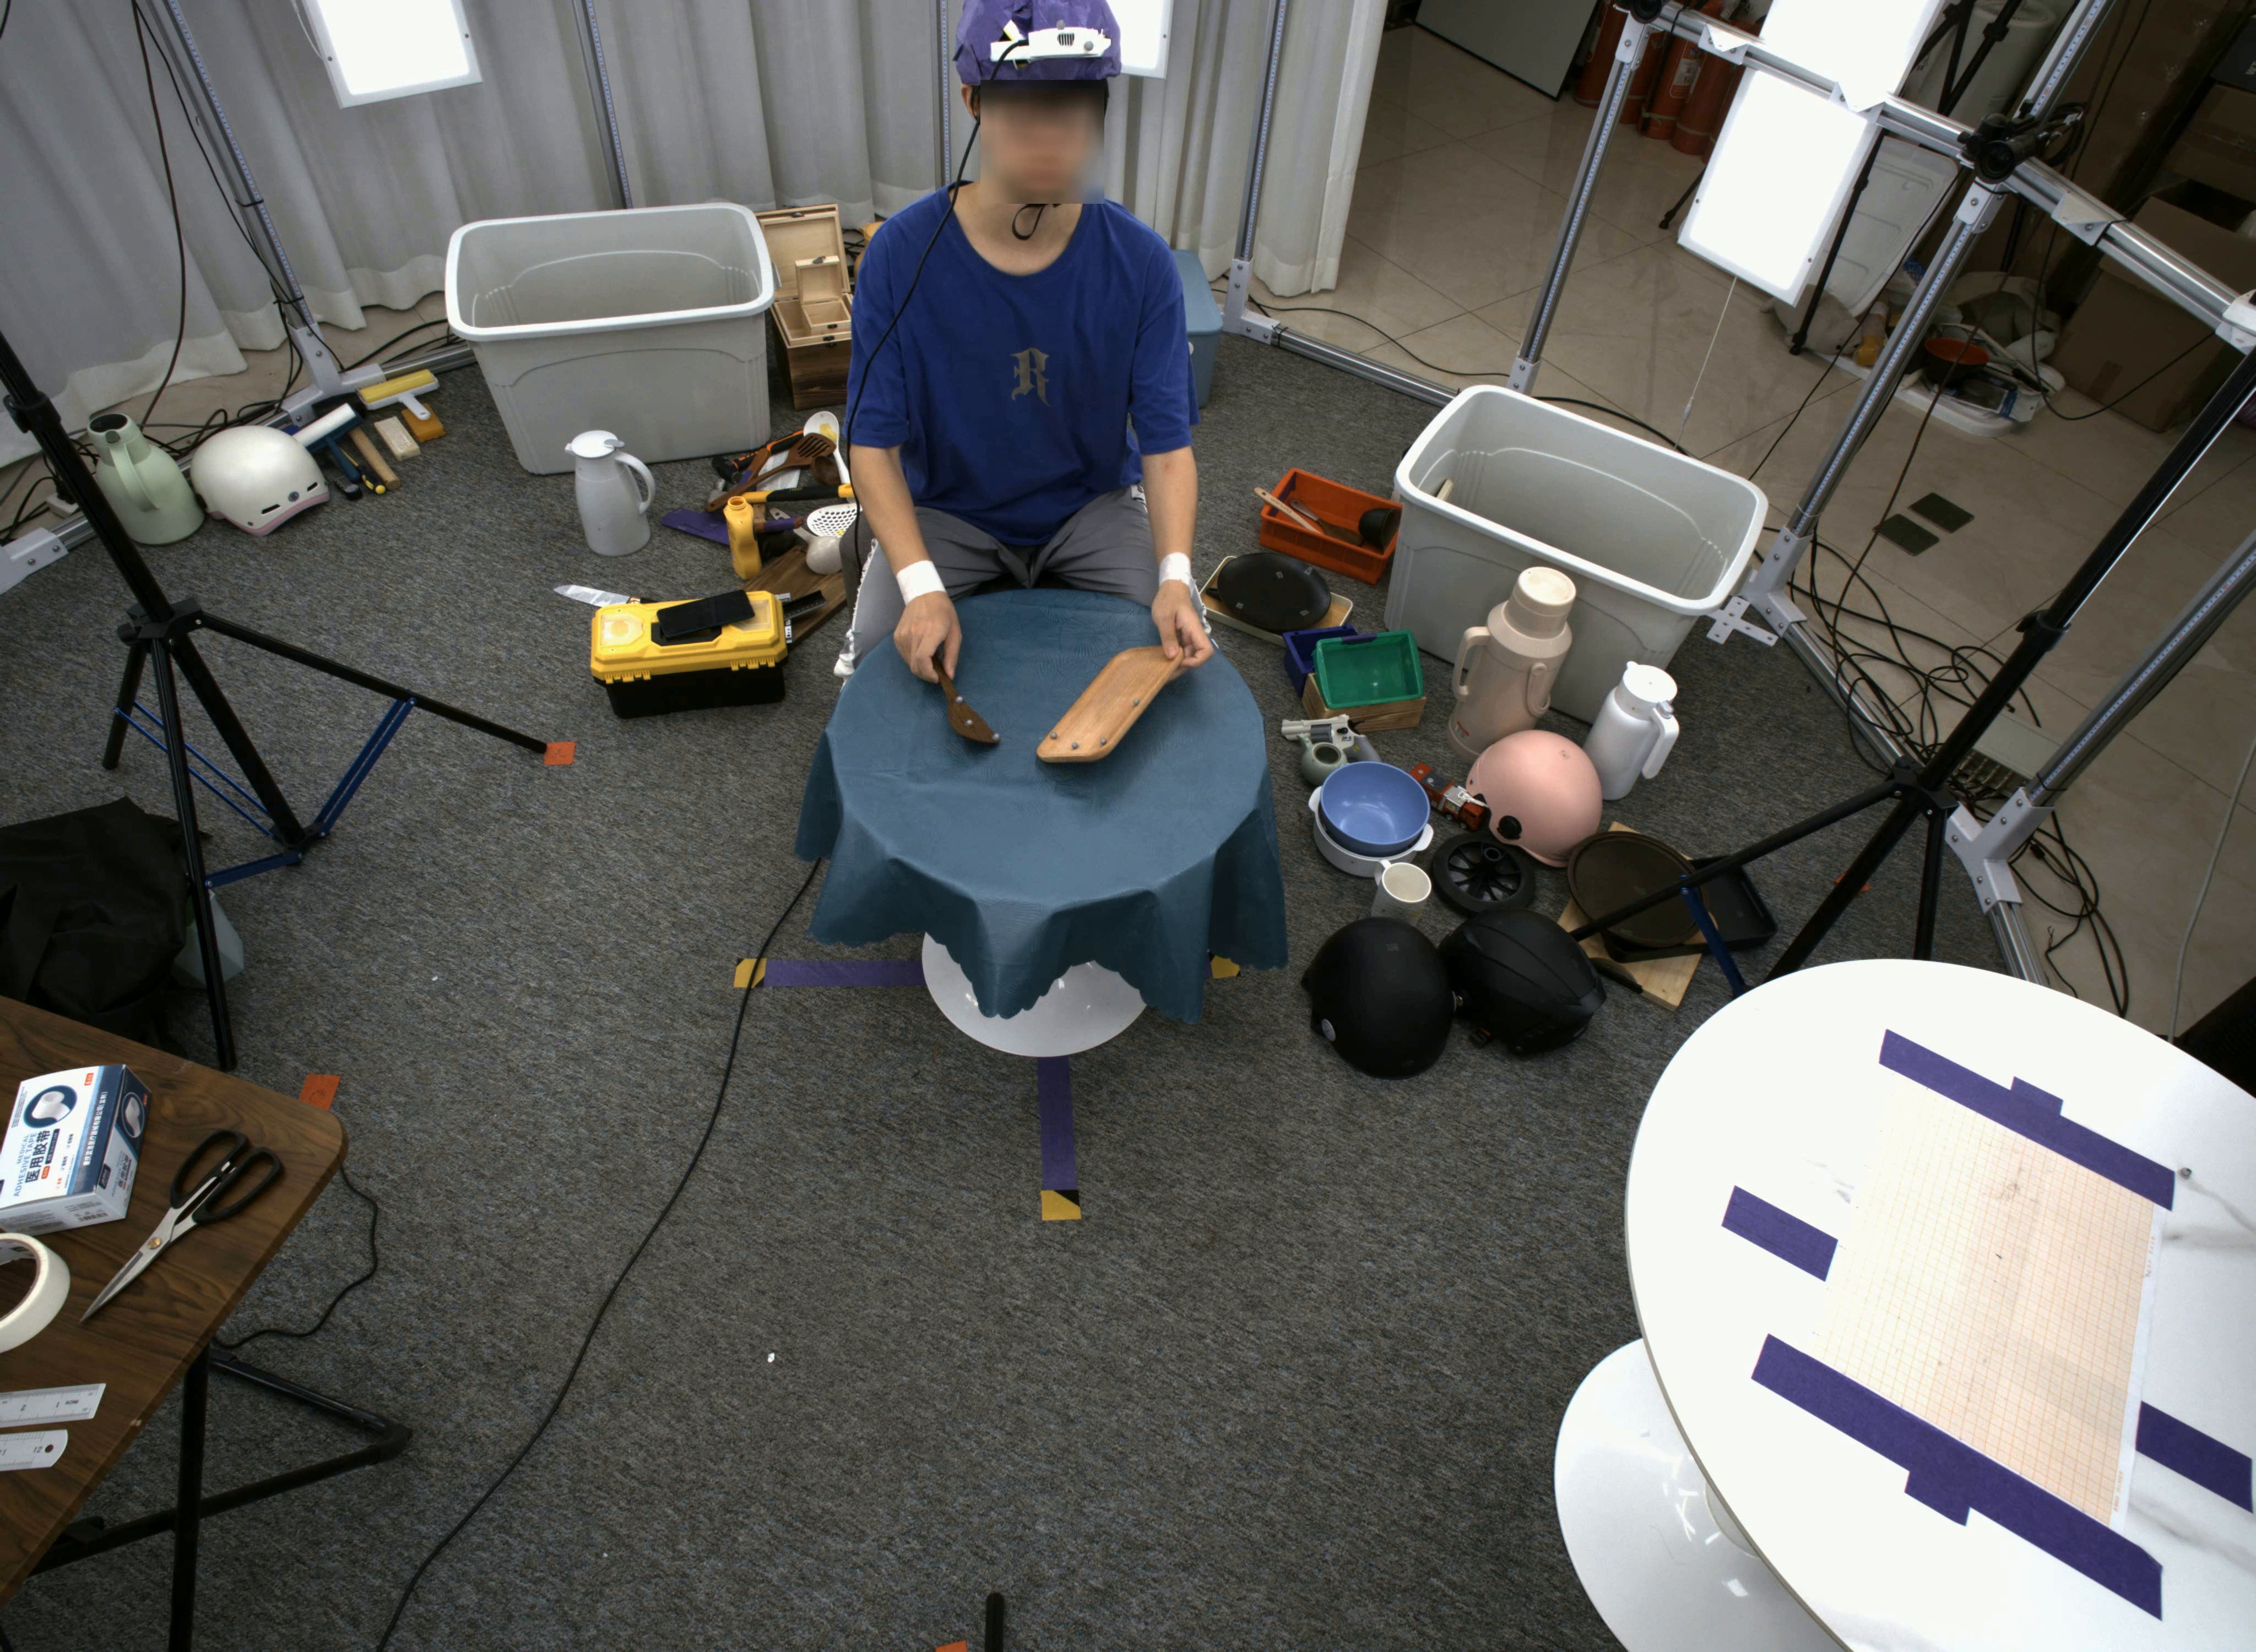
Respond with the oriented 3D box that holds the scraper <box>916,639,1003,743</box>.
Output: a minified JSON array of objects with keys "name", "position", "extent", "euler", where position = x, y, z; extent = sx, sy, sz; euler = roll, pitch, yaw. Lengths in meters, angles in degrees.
[{"name":"scraper","position":[-0.244,-0.188,1.786],"extent":[0.075,0.010,0.216],"euler":[6,42,-46]}]

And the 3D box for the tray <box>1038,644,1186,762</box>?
[{"name":"tray","position":[-0.019,-0.172,1.771],"extent":[0.131,0.022,0.254],"euler":[5,44,39]}]
